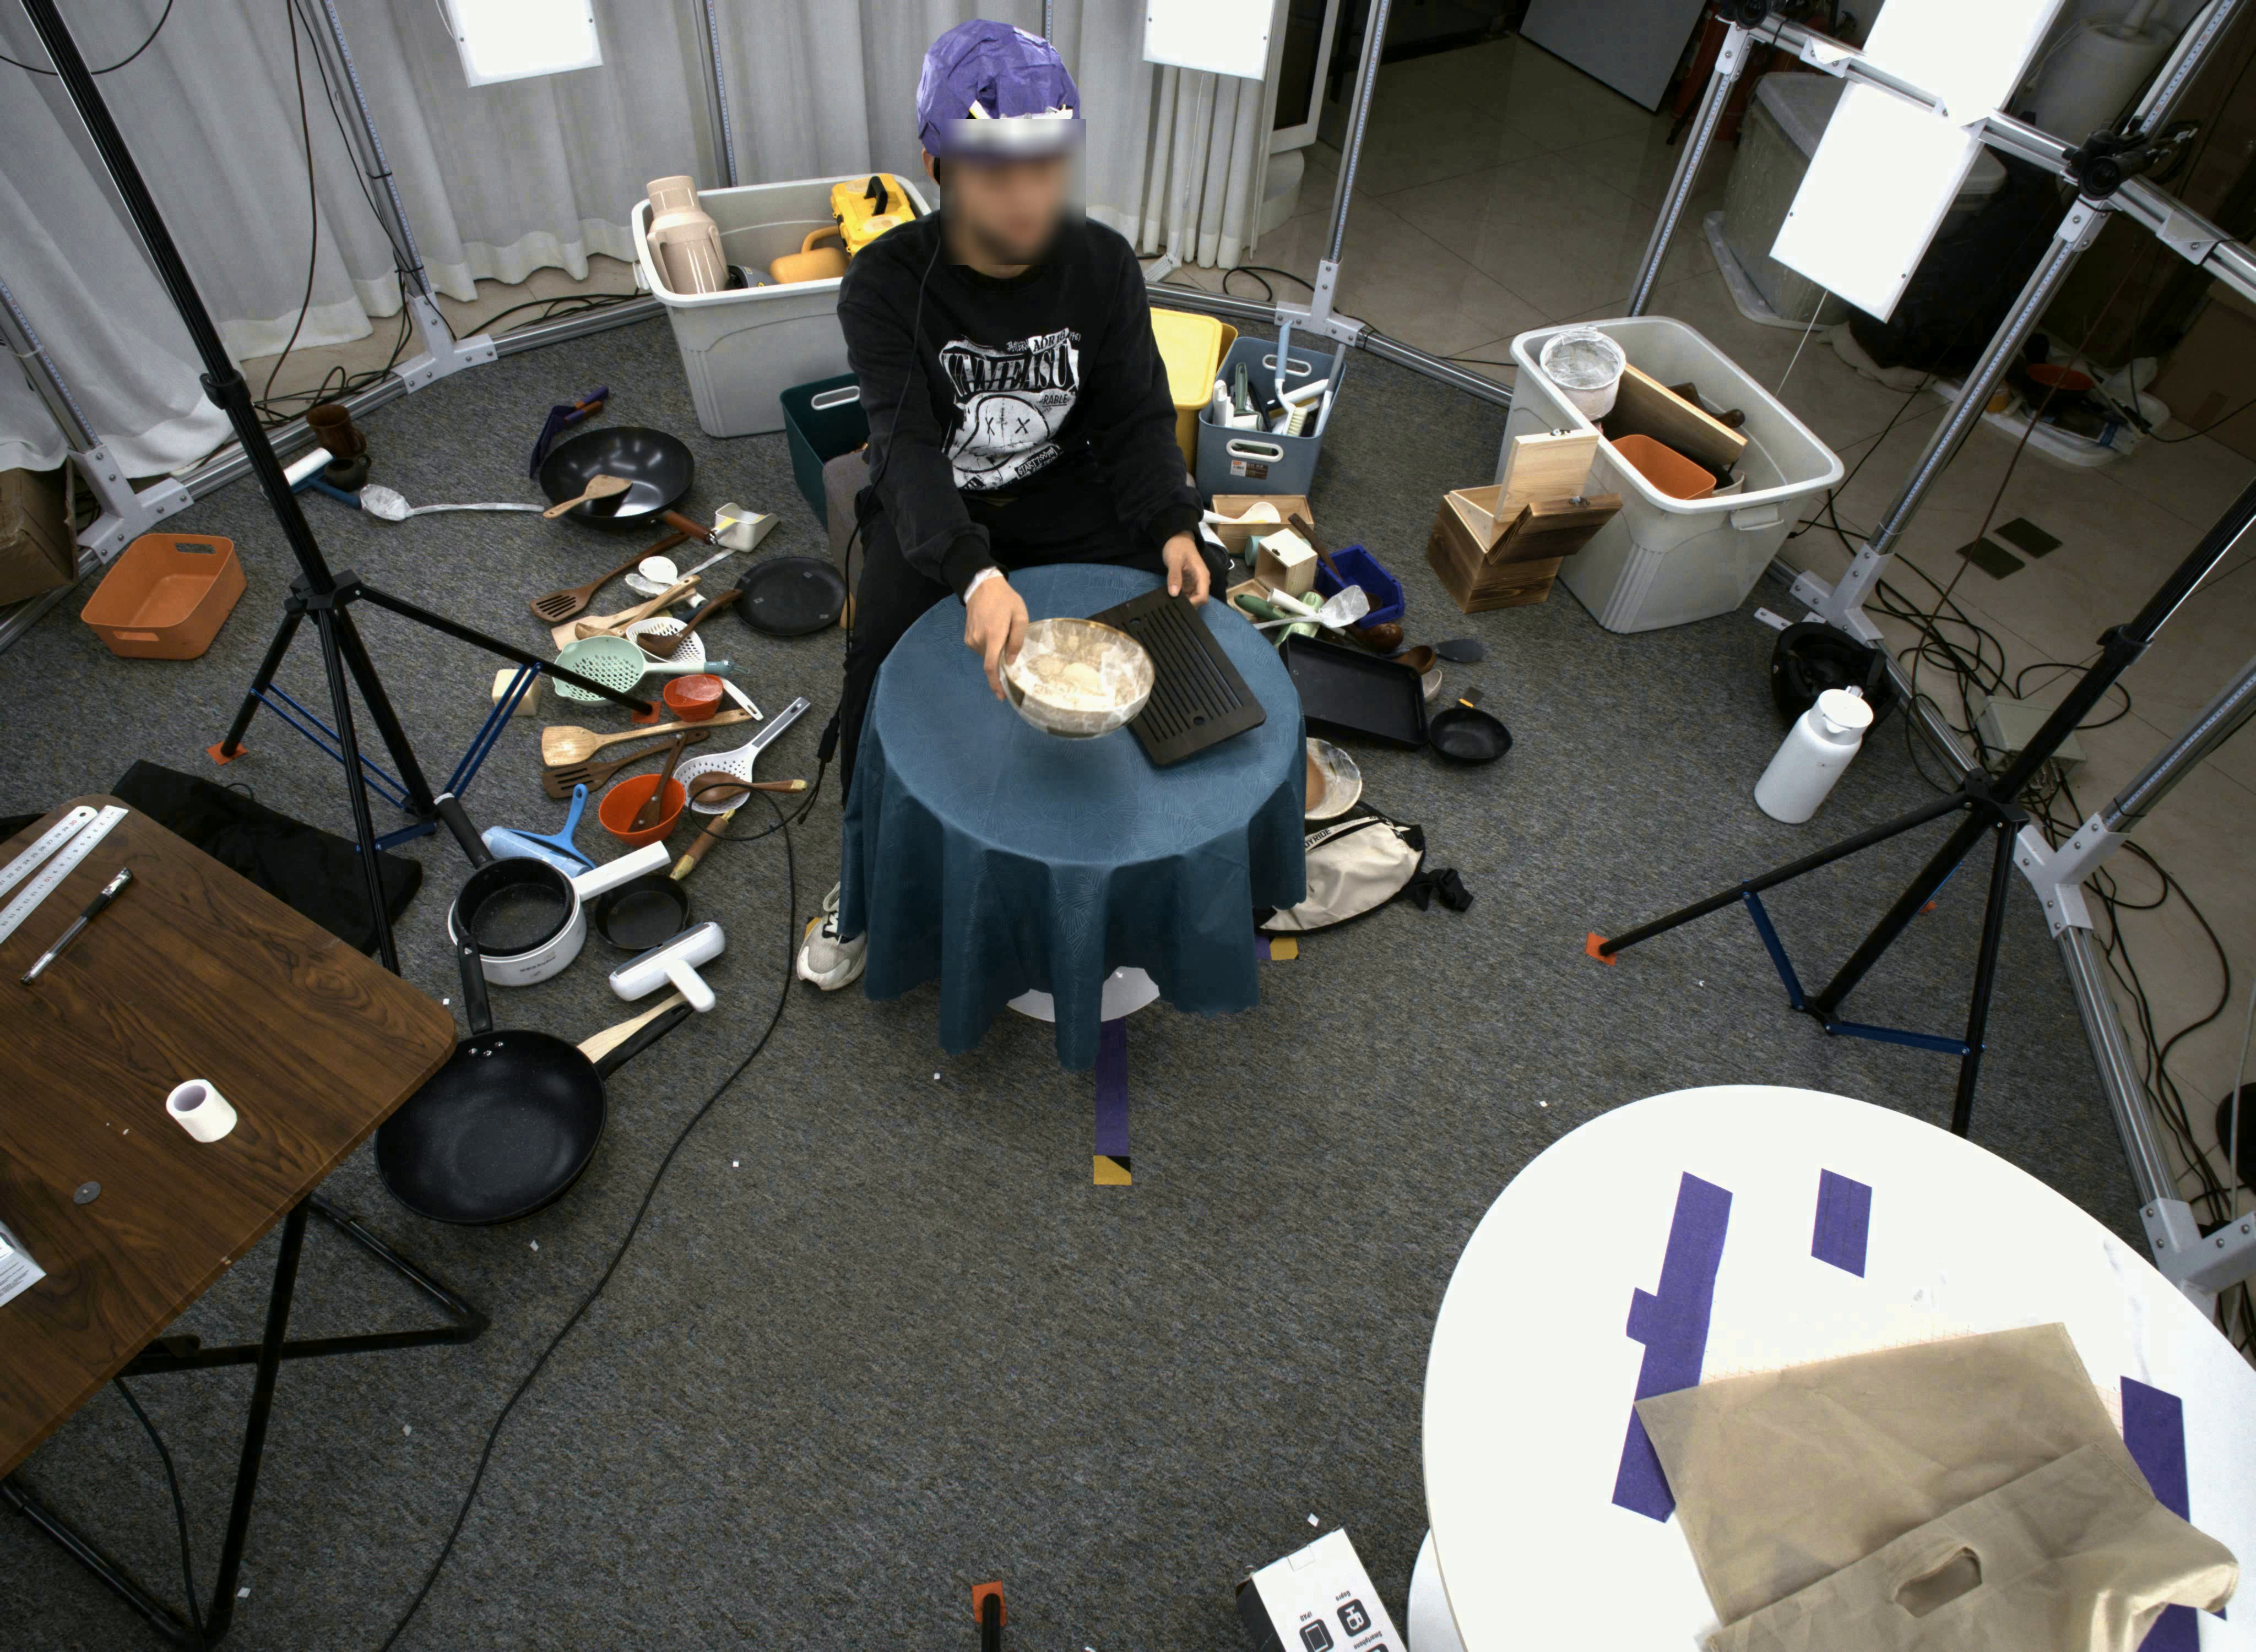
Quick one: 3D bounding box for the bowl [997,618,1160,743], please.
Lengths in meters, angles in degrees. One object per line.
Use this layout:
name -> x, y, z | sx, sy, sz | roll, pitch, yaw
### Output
bowl -> -0.071, -0.176, 1.677 | 0.214, 0.092, 0.220 | 6, 41, -5

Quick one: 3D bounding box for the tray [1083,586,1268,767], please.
tray -> 0.061, -0.219, 1.846 | 0.170, 0.018, 0.313 | -24, 53, -7
